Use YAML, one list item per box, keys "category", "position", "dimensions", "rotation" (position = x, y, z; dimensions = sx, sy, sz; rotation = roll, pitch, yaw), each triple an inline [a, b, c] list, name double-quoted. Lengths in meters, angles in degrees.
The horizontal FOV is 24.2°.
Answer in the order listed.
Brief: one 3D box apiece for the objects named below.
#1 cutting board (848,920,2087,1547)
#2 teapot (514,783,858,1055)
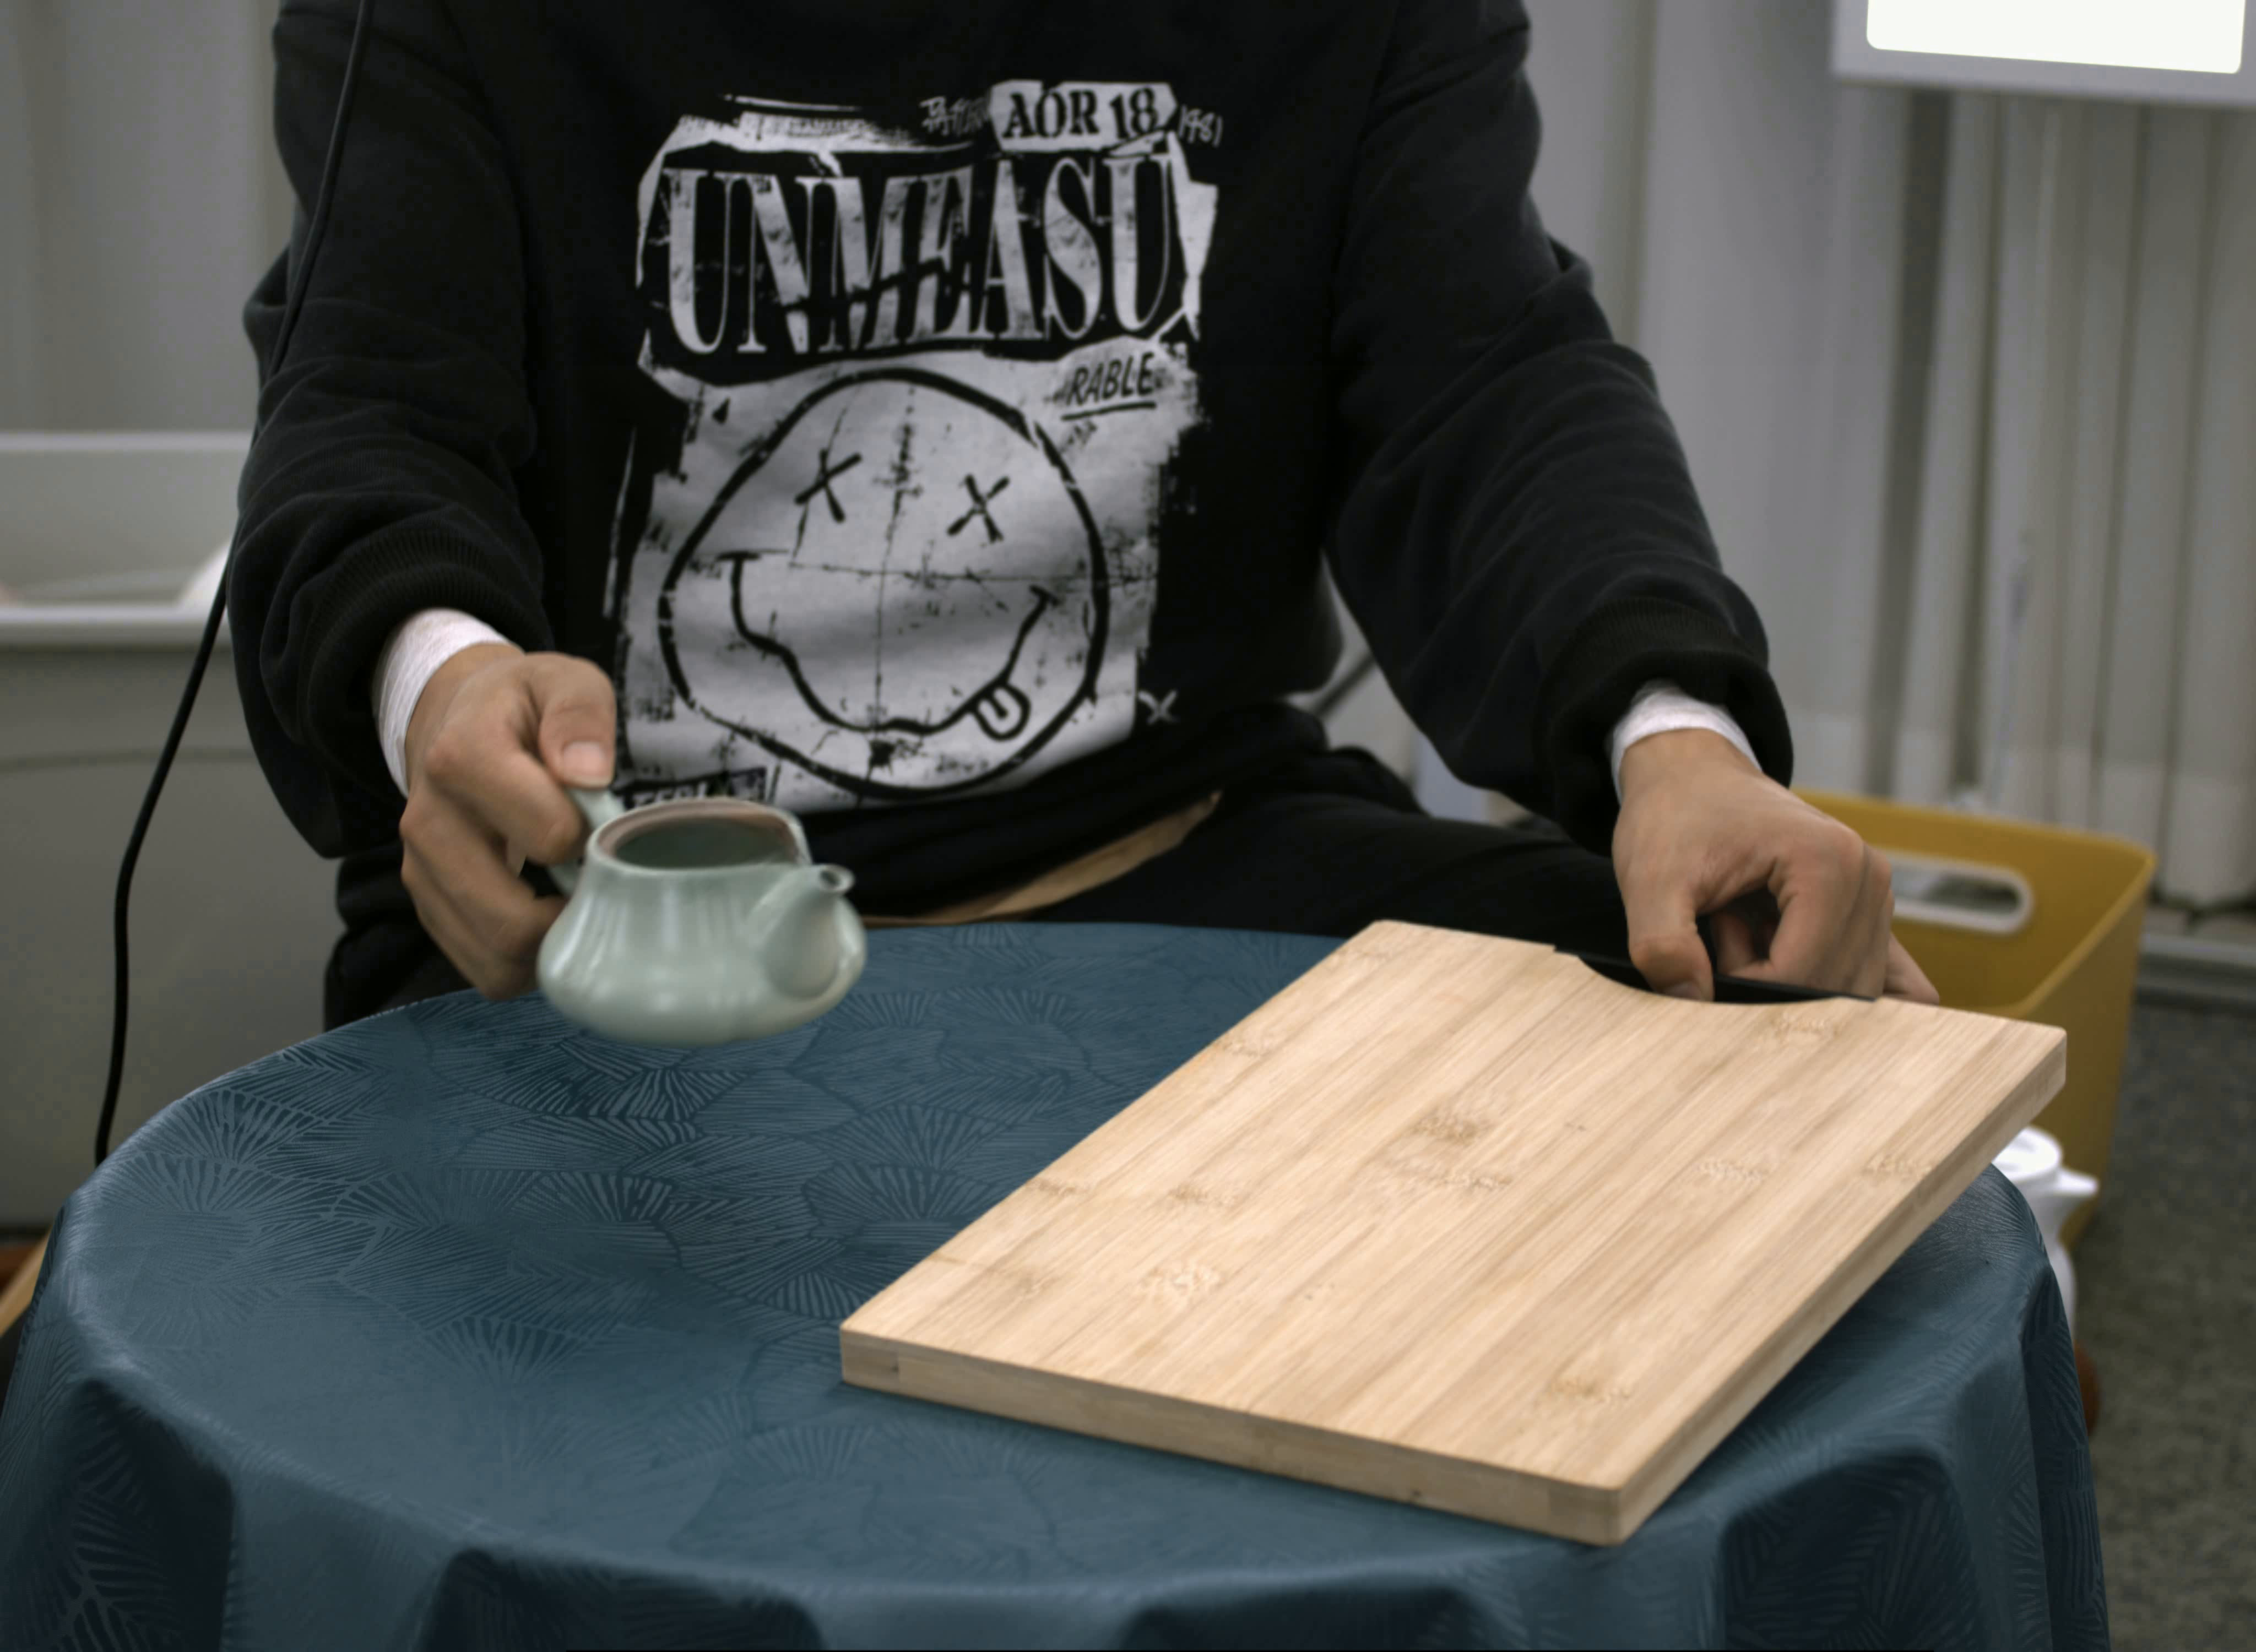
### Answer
- category: "cutting board"
  position: [0.108, 0.109, 1.552]
  dimensions: [0.248, 0.024, 0.349]
  rotation: [9, 23, 27]
- category: "teapot"
  position: [-0.131, 0.027, 1.539]
  dimensions: [0.135, 0.062, 0.096]
  rotation: [17, 30, 40]
